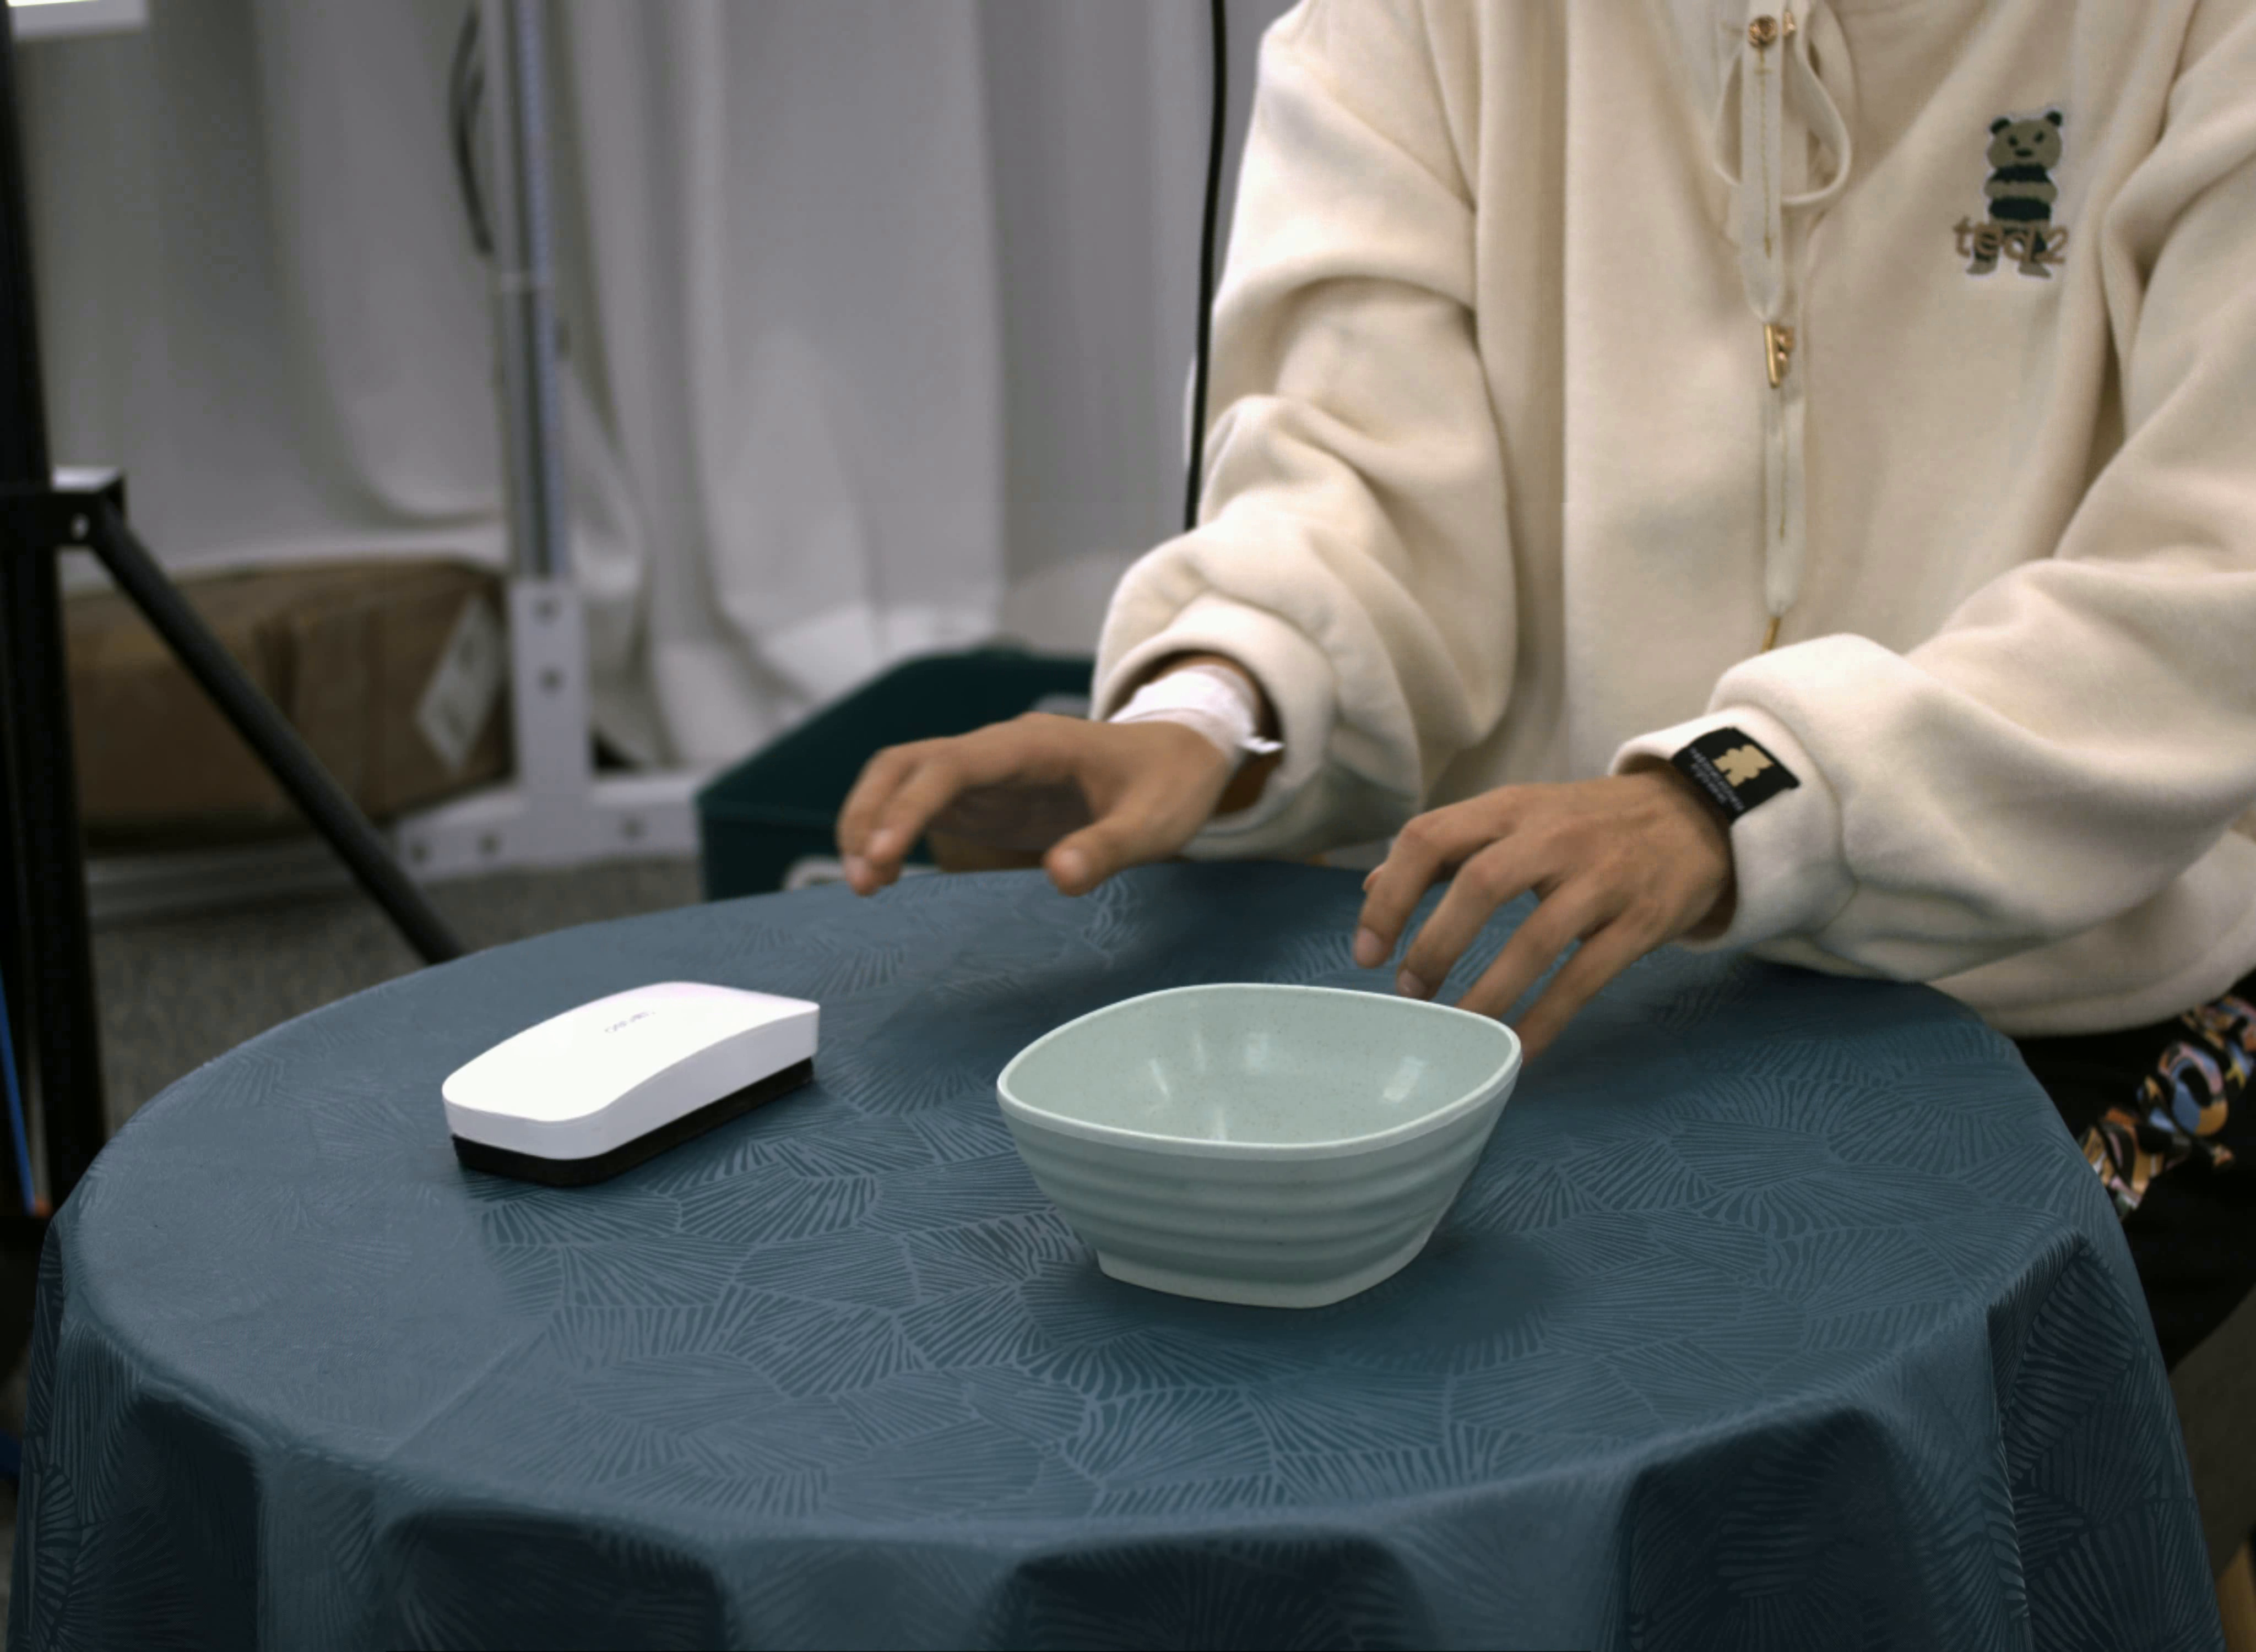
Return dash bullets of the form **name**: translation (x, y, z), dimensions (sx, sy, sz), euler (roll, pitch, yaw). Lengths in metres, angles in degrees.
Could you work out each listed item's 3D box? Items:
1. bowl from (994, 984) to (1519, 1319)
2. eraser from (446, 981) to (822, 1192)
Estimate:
- **bowl**: translation (0.037, 0.095, 1.497), dimensions (0.150, 0.058, 0.152), euler (-1, 16, -1)
- **eraser**: translation (-0.149, 0.076, 1.639), dimensions (0.064, 0.034, 0.129), euler (8, 19, 34)
